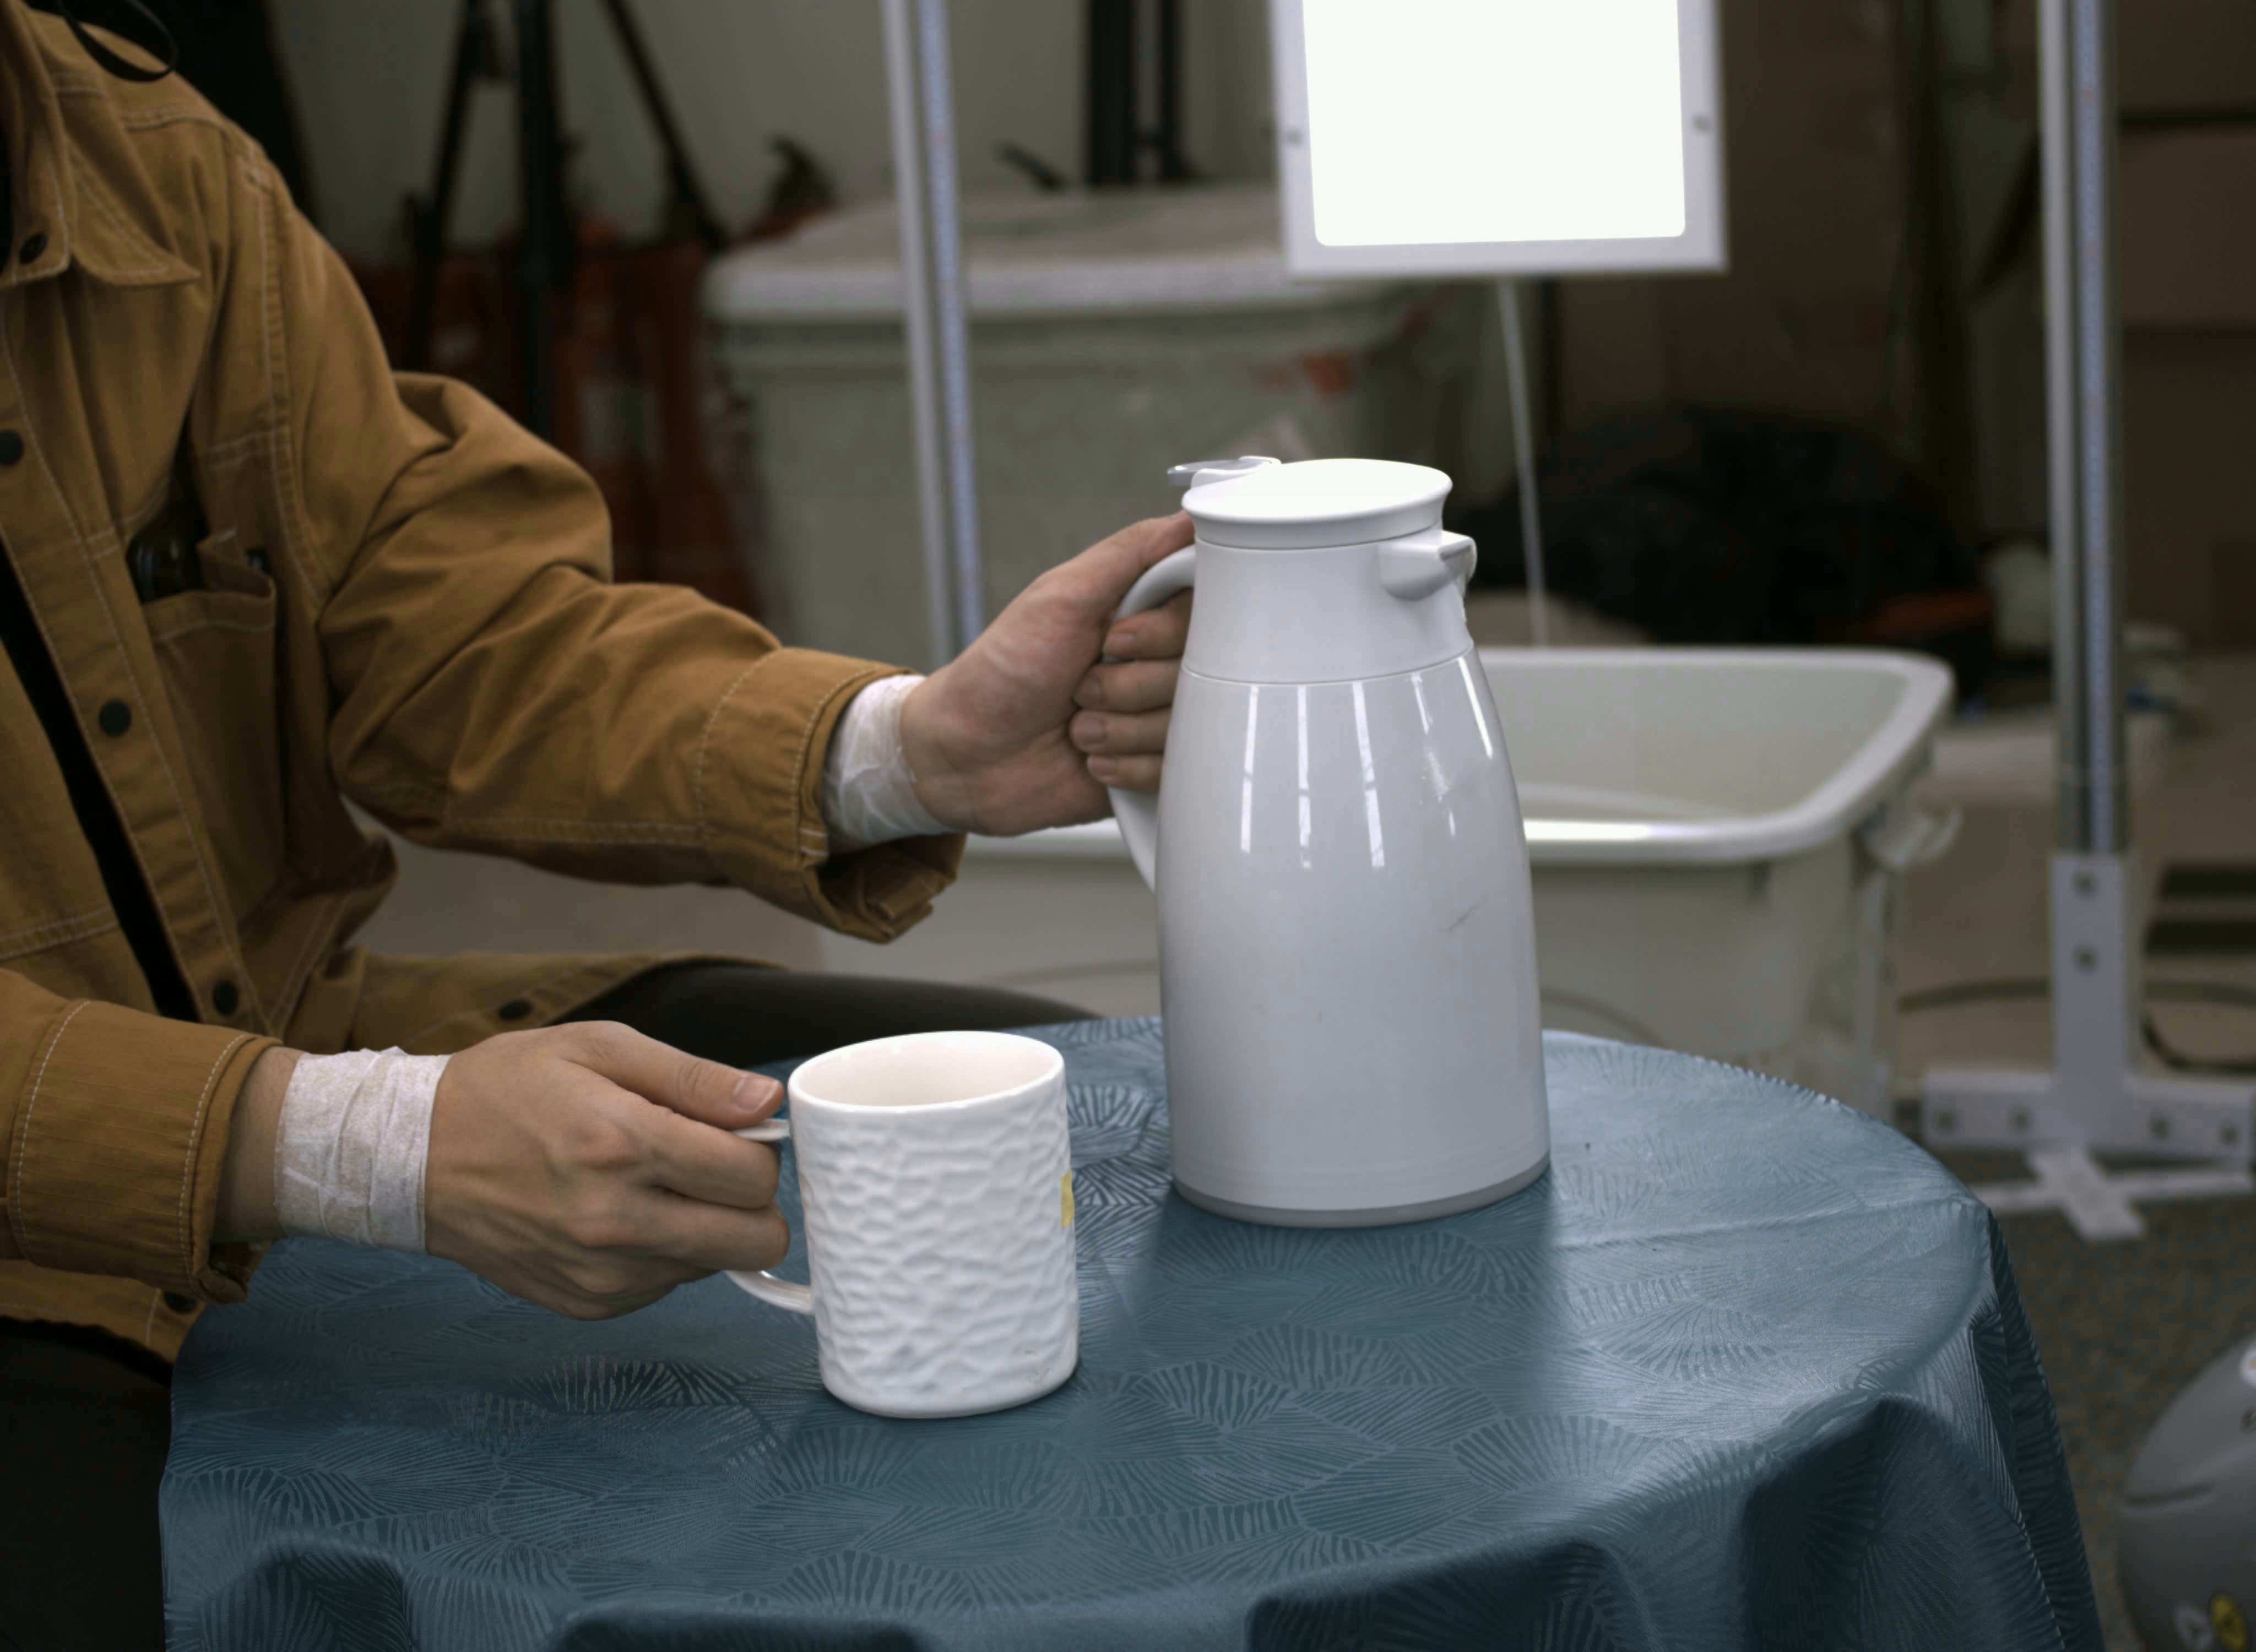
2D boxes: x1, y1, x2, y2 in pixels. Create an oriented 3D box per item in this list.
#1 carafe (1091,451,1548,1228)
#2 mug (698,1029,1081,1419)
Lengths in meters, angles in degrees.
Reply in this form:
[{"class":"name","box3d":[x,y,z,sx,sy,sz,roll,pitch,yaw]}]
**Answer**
[{"class":"carafe","box3d":[0.056,-0.003,1.883,0.171,0.249,0.129,8,20,43]},{"class":"mug","box3d":[-0.075,0.124,1.721,0.119,0.102,0.084,-2,14,13]}]
